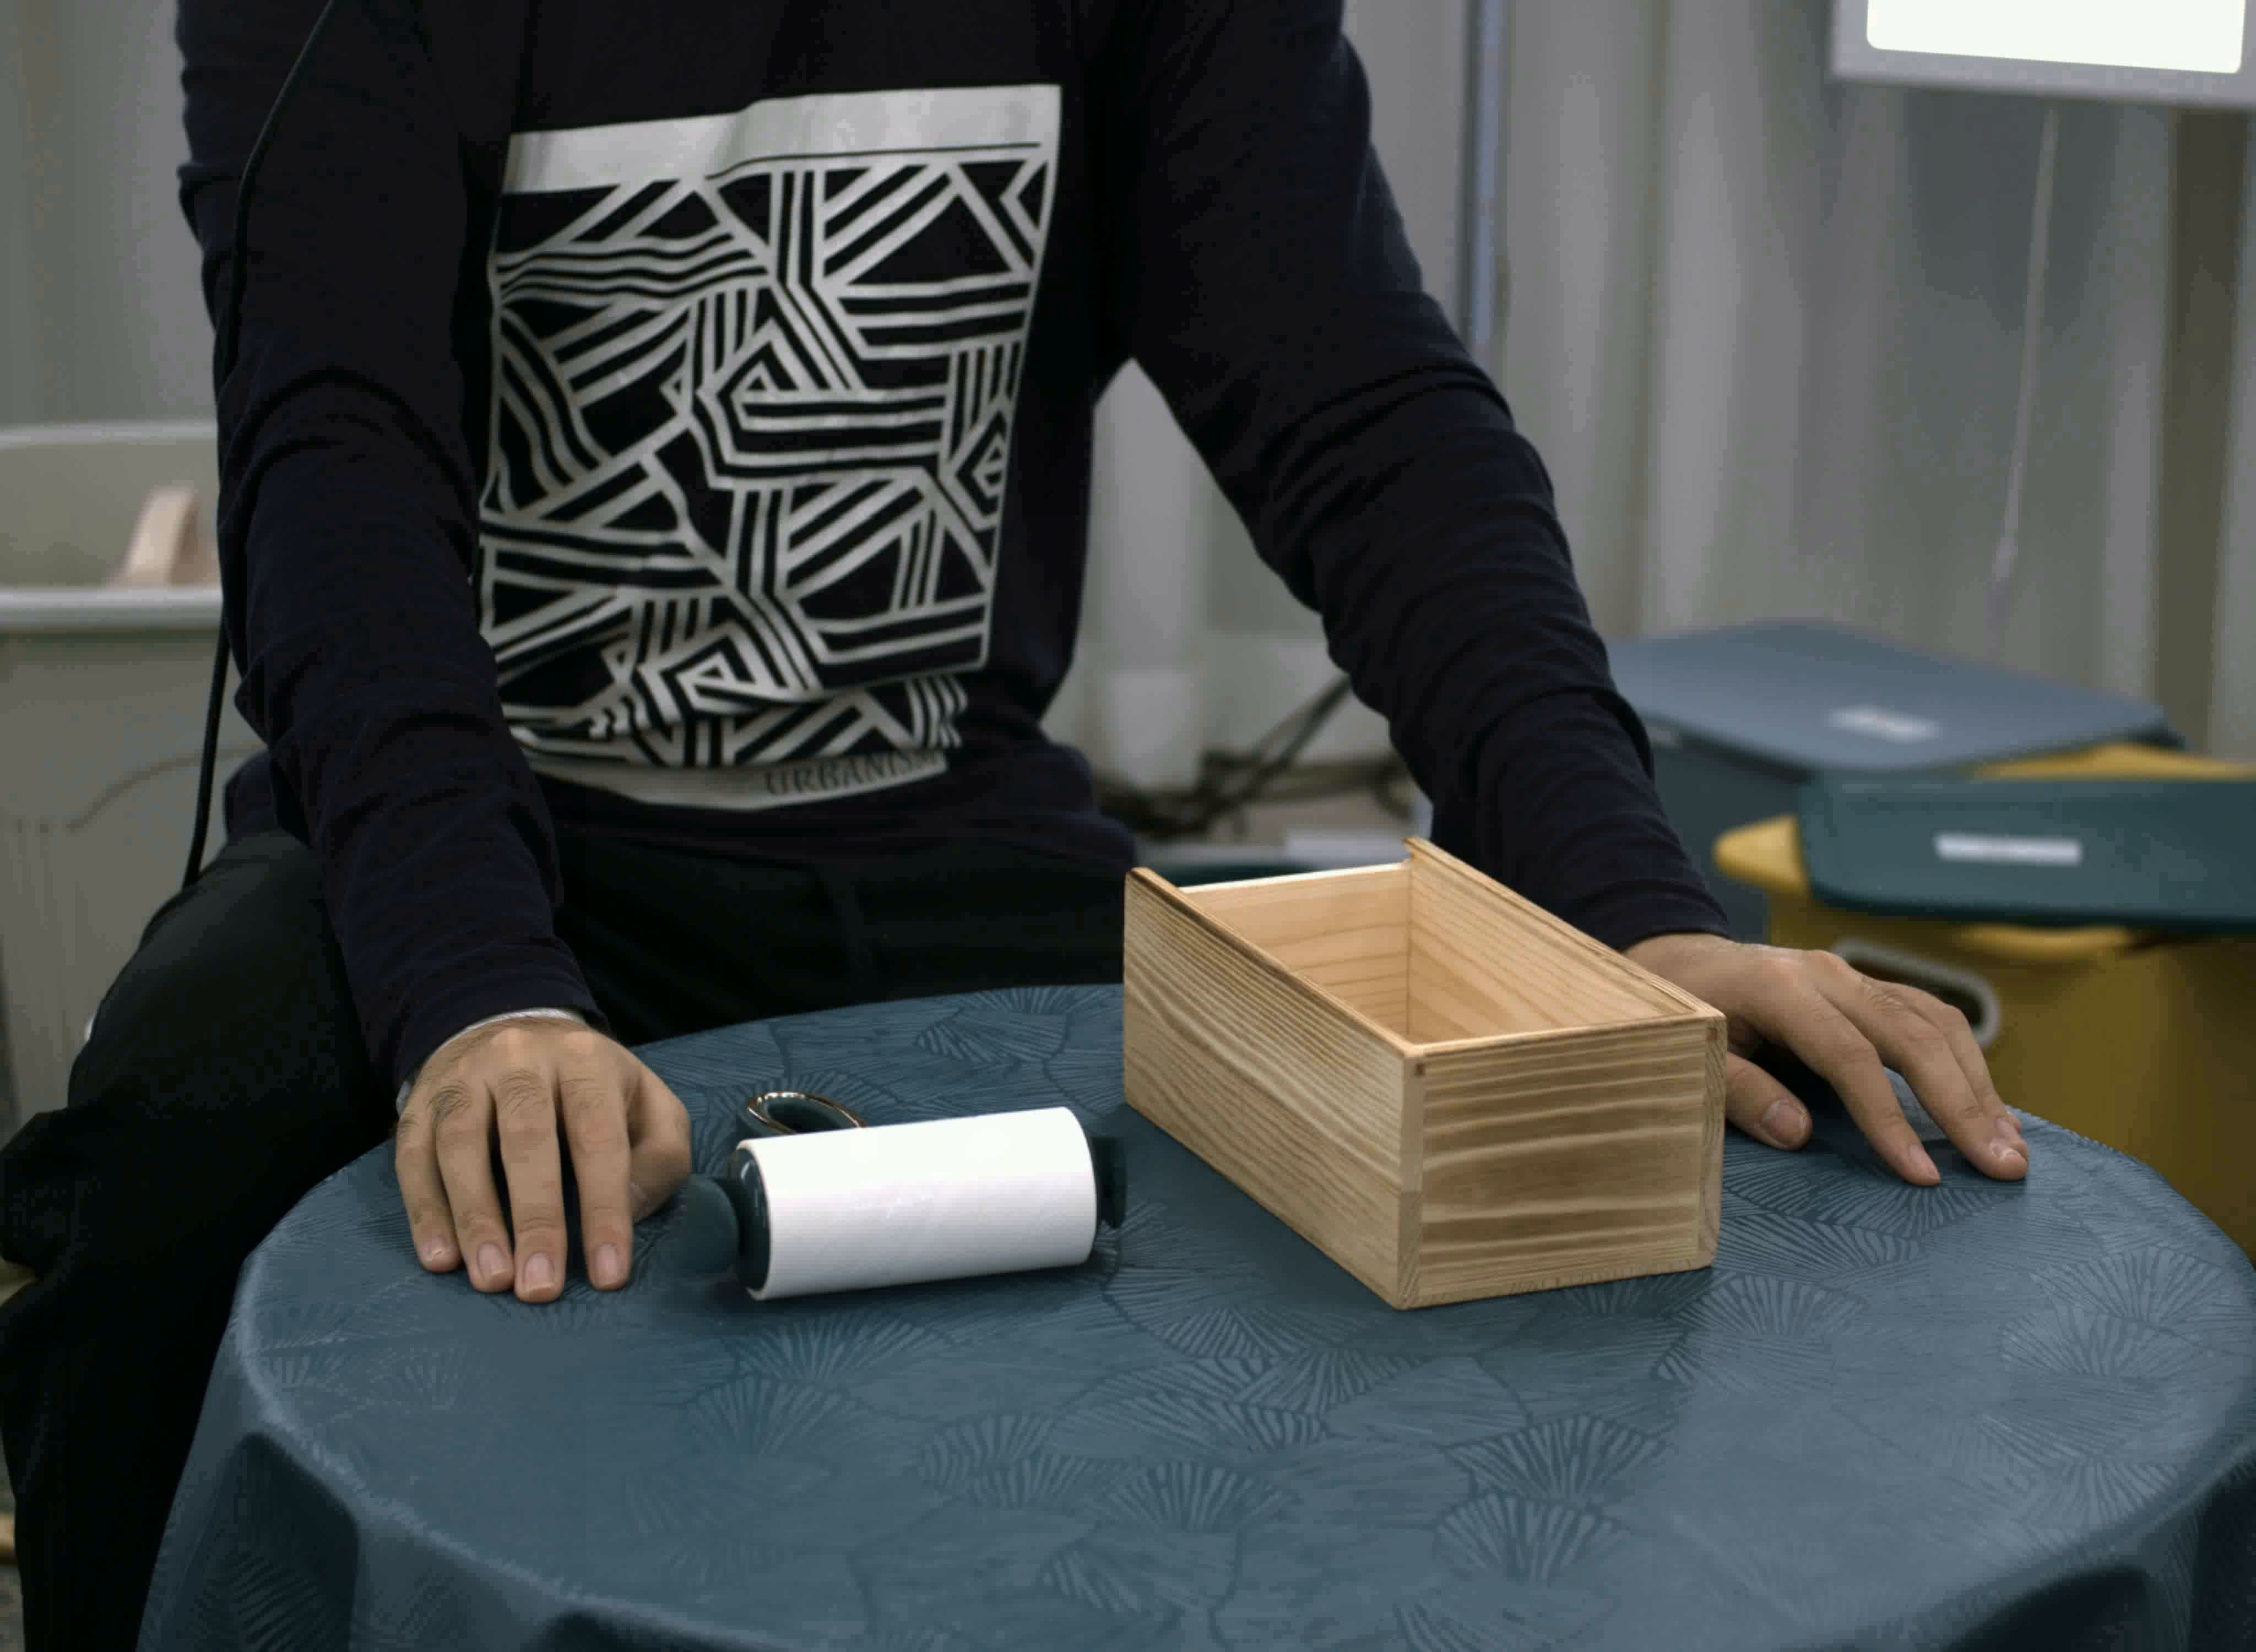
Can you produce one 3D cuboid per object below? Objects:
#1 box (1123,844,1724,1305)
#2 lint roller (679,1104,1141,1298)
[{"bbox_3d":[0.087,0.073,1.623,0.108,0.081,0.209,-7,16,-22],"label":"box"},{"bbox_3d":[-0.086,0.099,1.602,0.134,0.048,0.178,-5,12,-19],"label":"lint roller"}]
